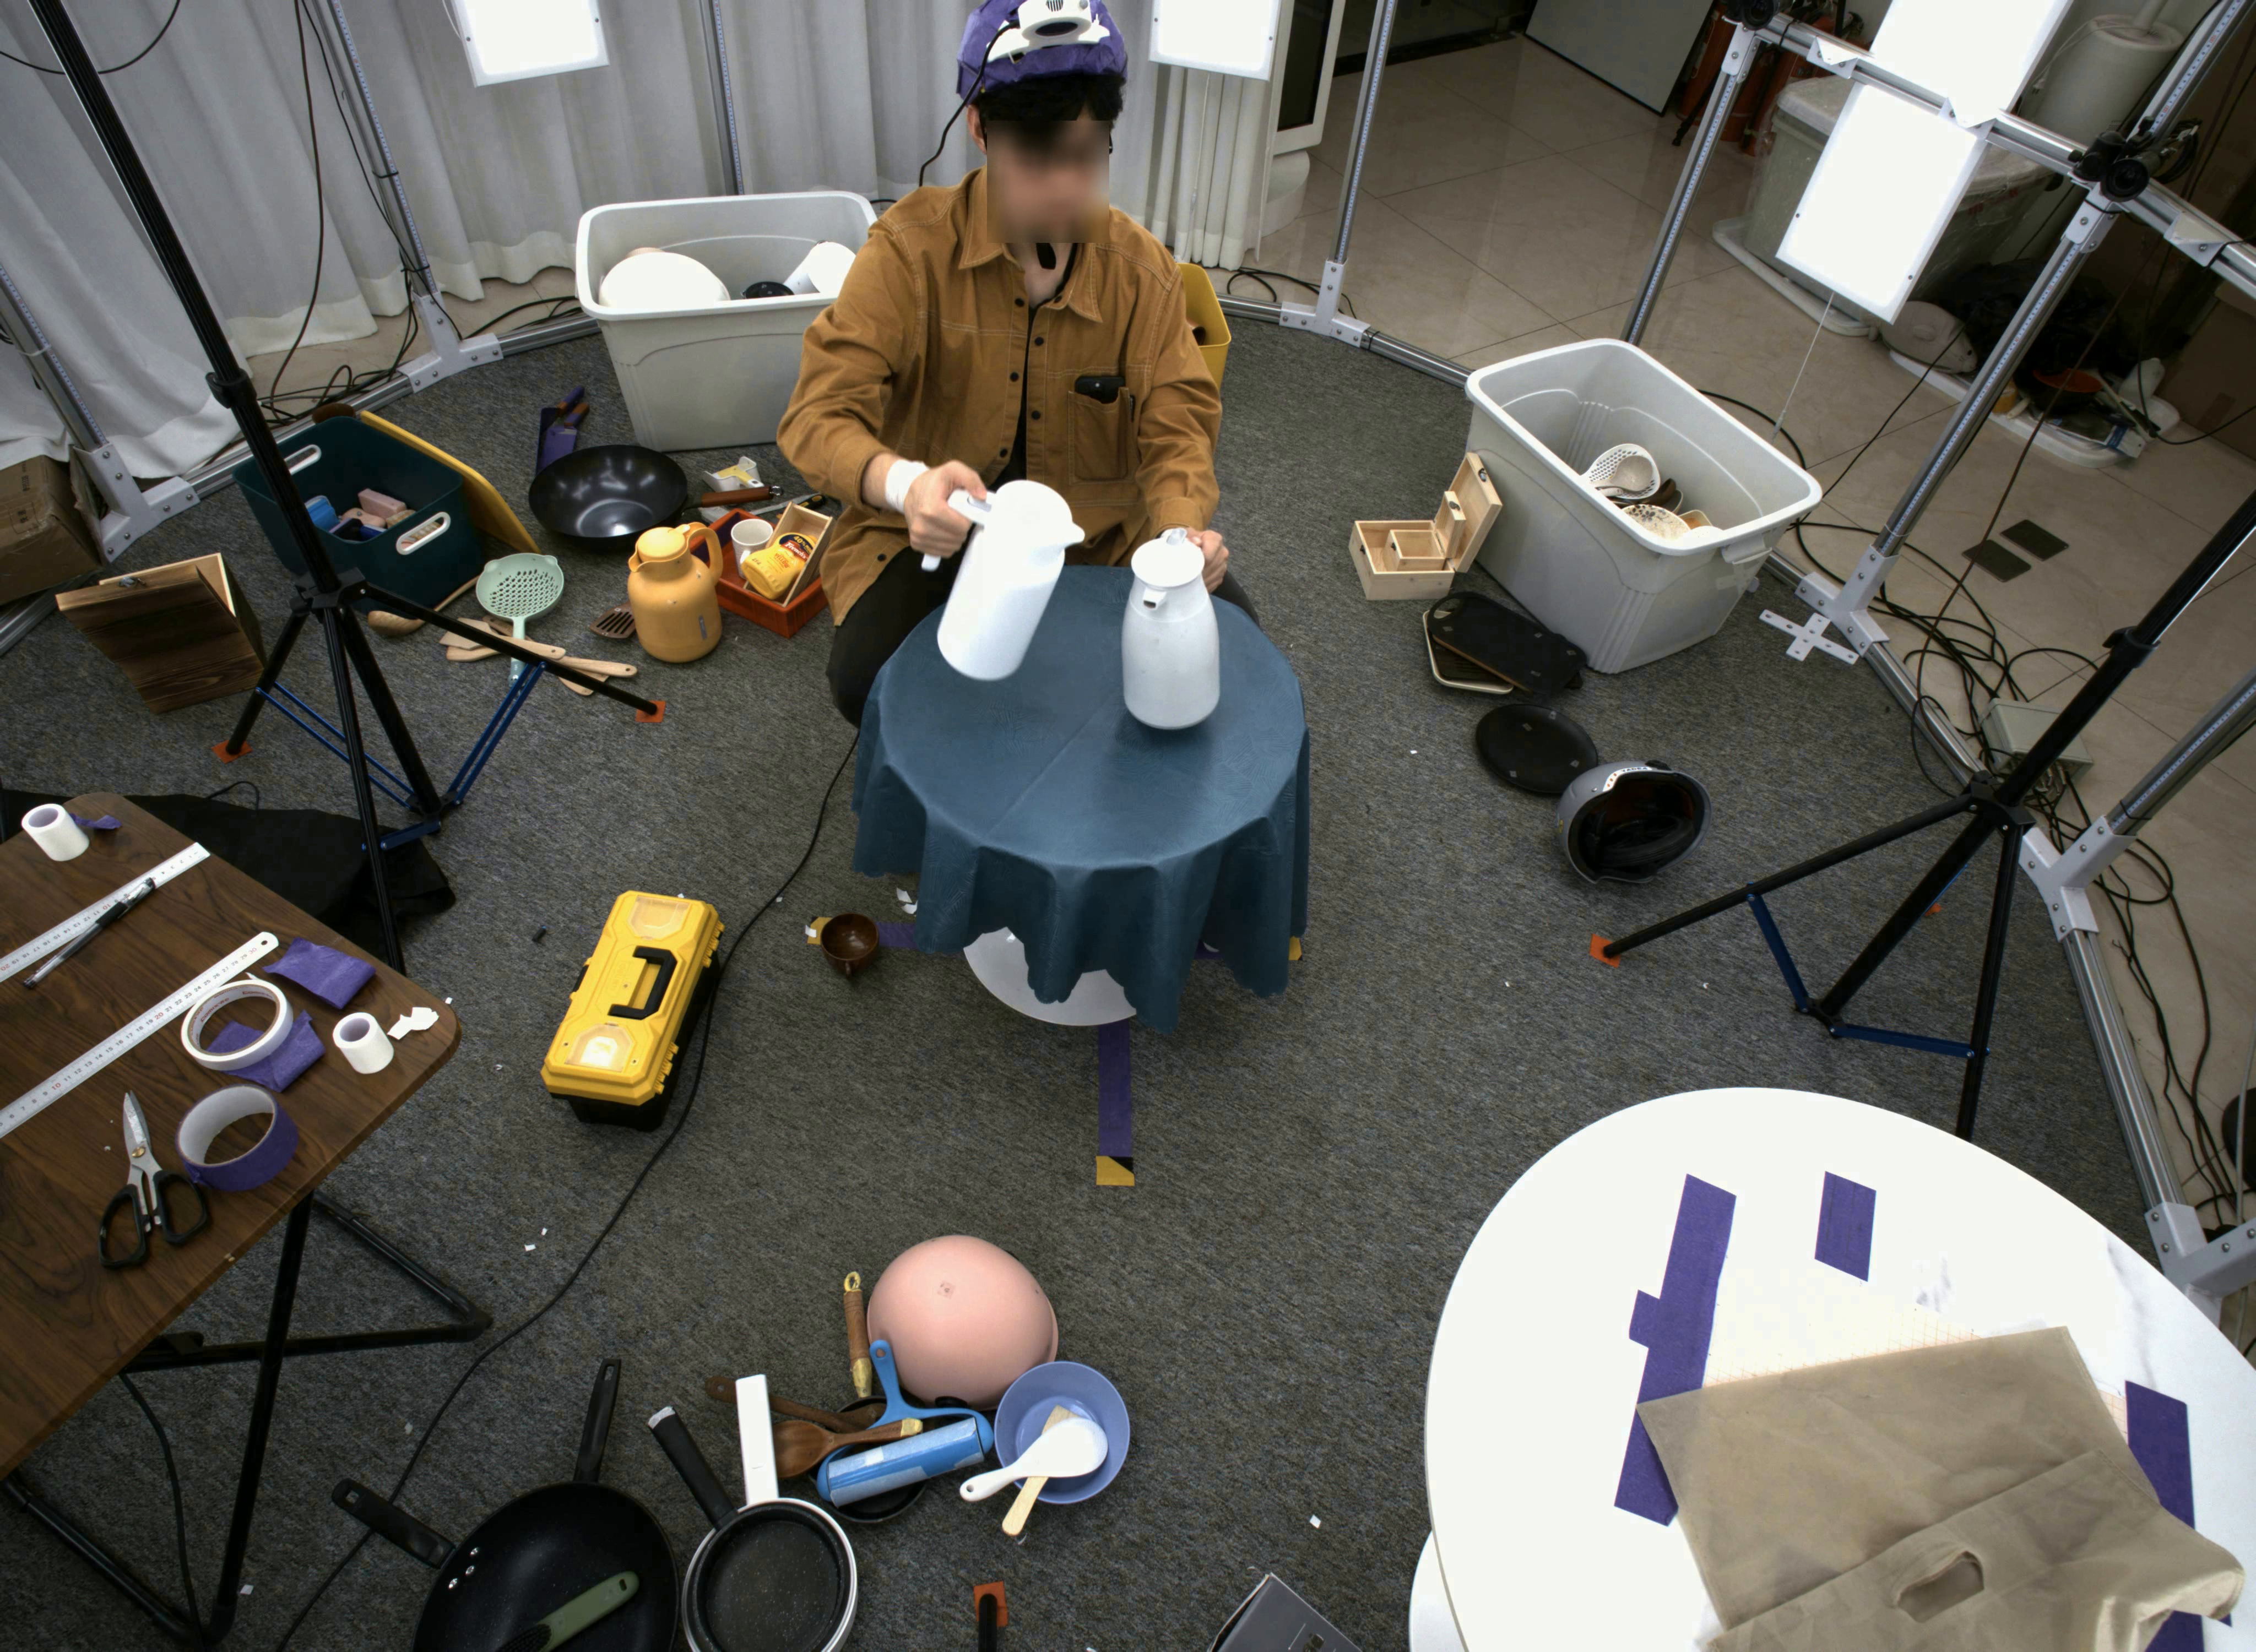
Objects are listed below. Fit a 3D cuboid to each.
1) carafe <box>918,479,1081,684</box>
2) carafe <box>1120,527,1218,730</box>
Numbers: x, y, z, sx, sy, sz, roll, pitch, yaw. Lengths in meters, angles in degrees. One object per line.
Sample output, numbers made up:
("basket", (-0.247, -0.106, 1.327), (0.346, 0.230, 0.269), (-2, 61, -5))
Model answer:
("carafe", (-0.173, -0.302, 1.599), (0.172, 0.264, 0.126), (17, 57, -9))
("carafe", (0.059, -0.271, 1.690), (0.133, 0.242, 0.171), (15, 52, 16))
